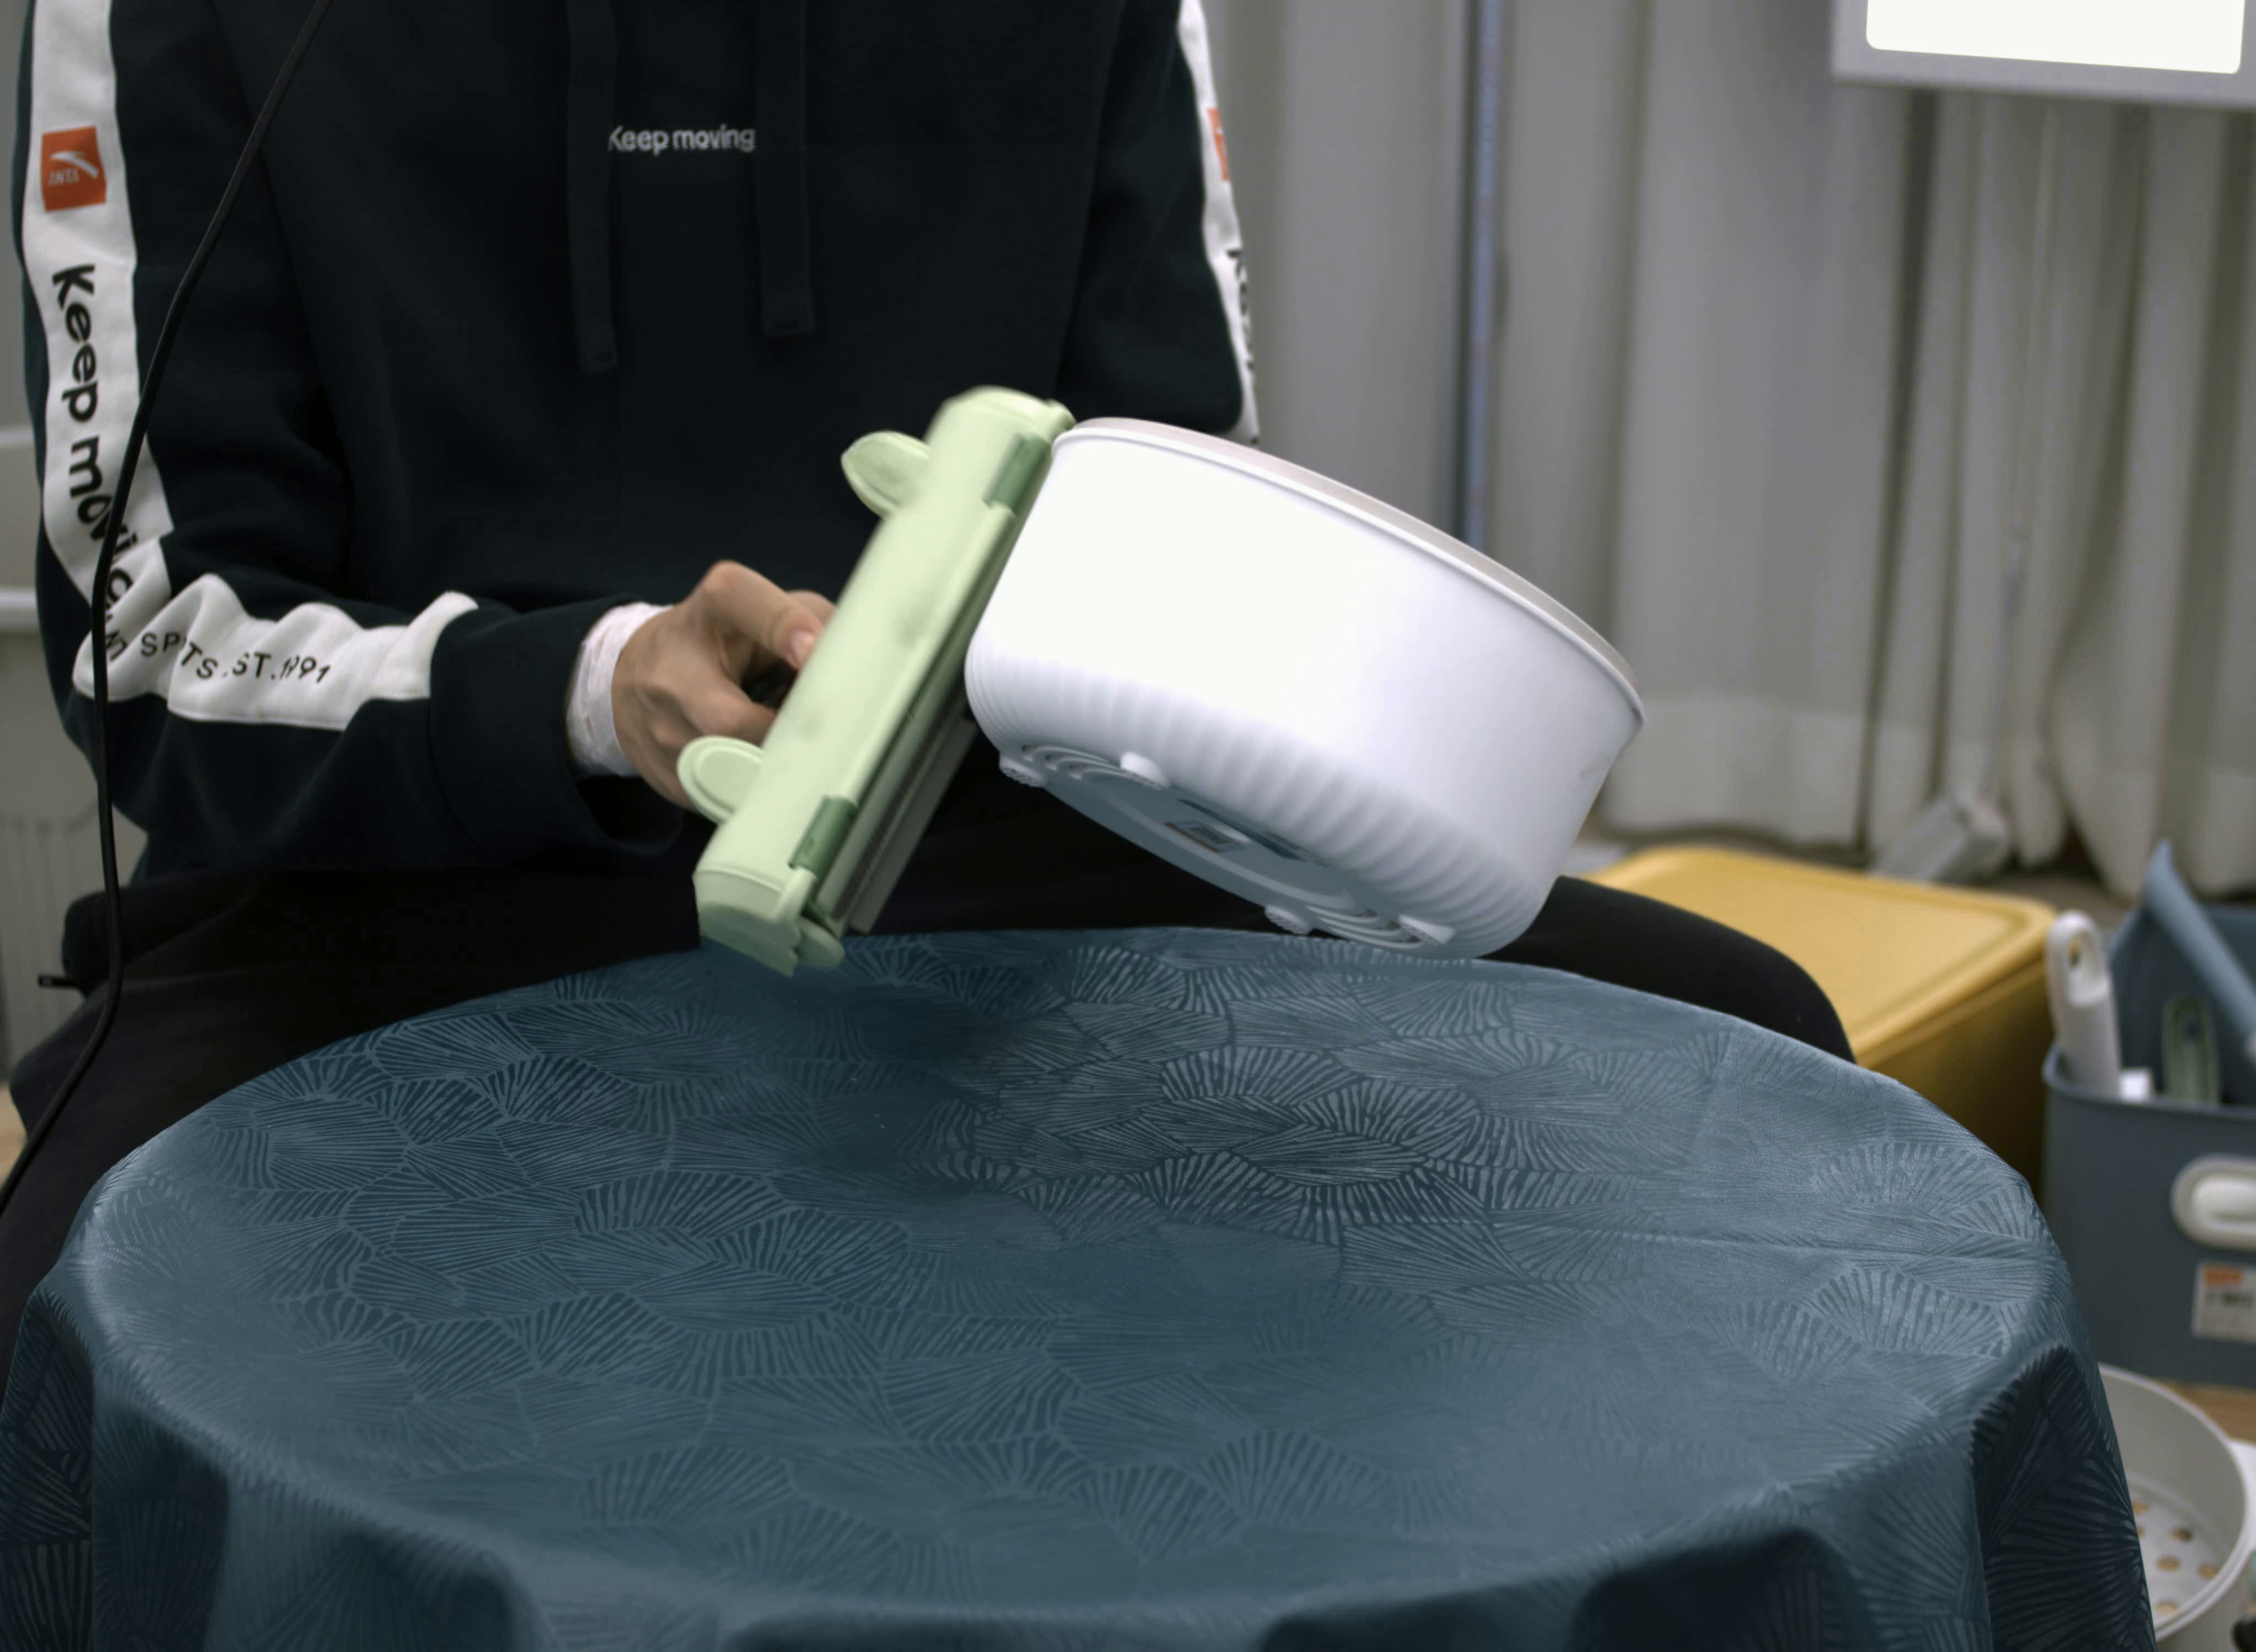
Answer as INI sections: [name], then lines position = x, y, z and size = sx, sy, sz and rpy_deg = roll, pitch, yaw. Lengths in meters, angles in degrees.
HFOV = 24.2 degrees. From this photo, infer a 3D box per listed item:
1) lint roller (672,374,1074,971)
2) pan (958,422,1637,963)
[lint roller]
position = -0.109, -0.050, 1.698
size = 0.083, 0.198, 0.181
rpy_deg = 35, -20, -26
[pan]
position = 0.018, -0.033, 1.687
size = 0.202, 0.102, 0.352
rpy_deg = 28, -11, -21
